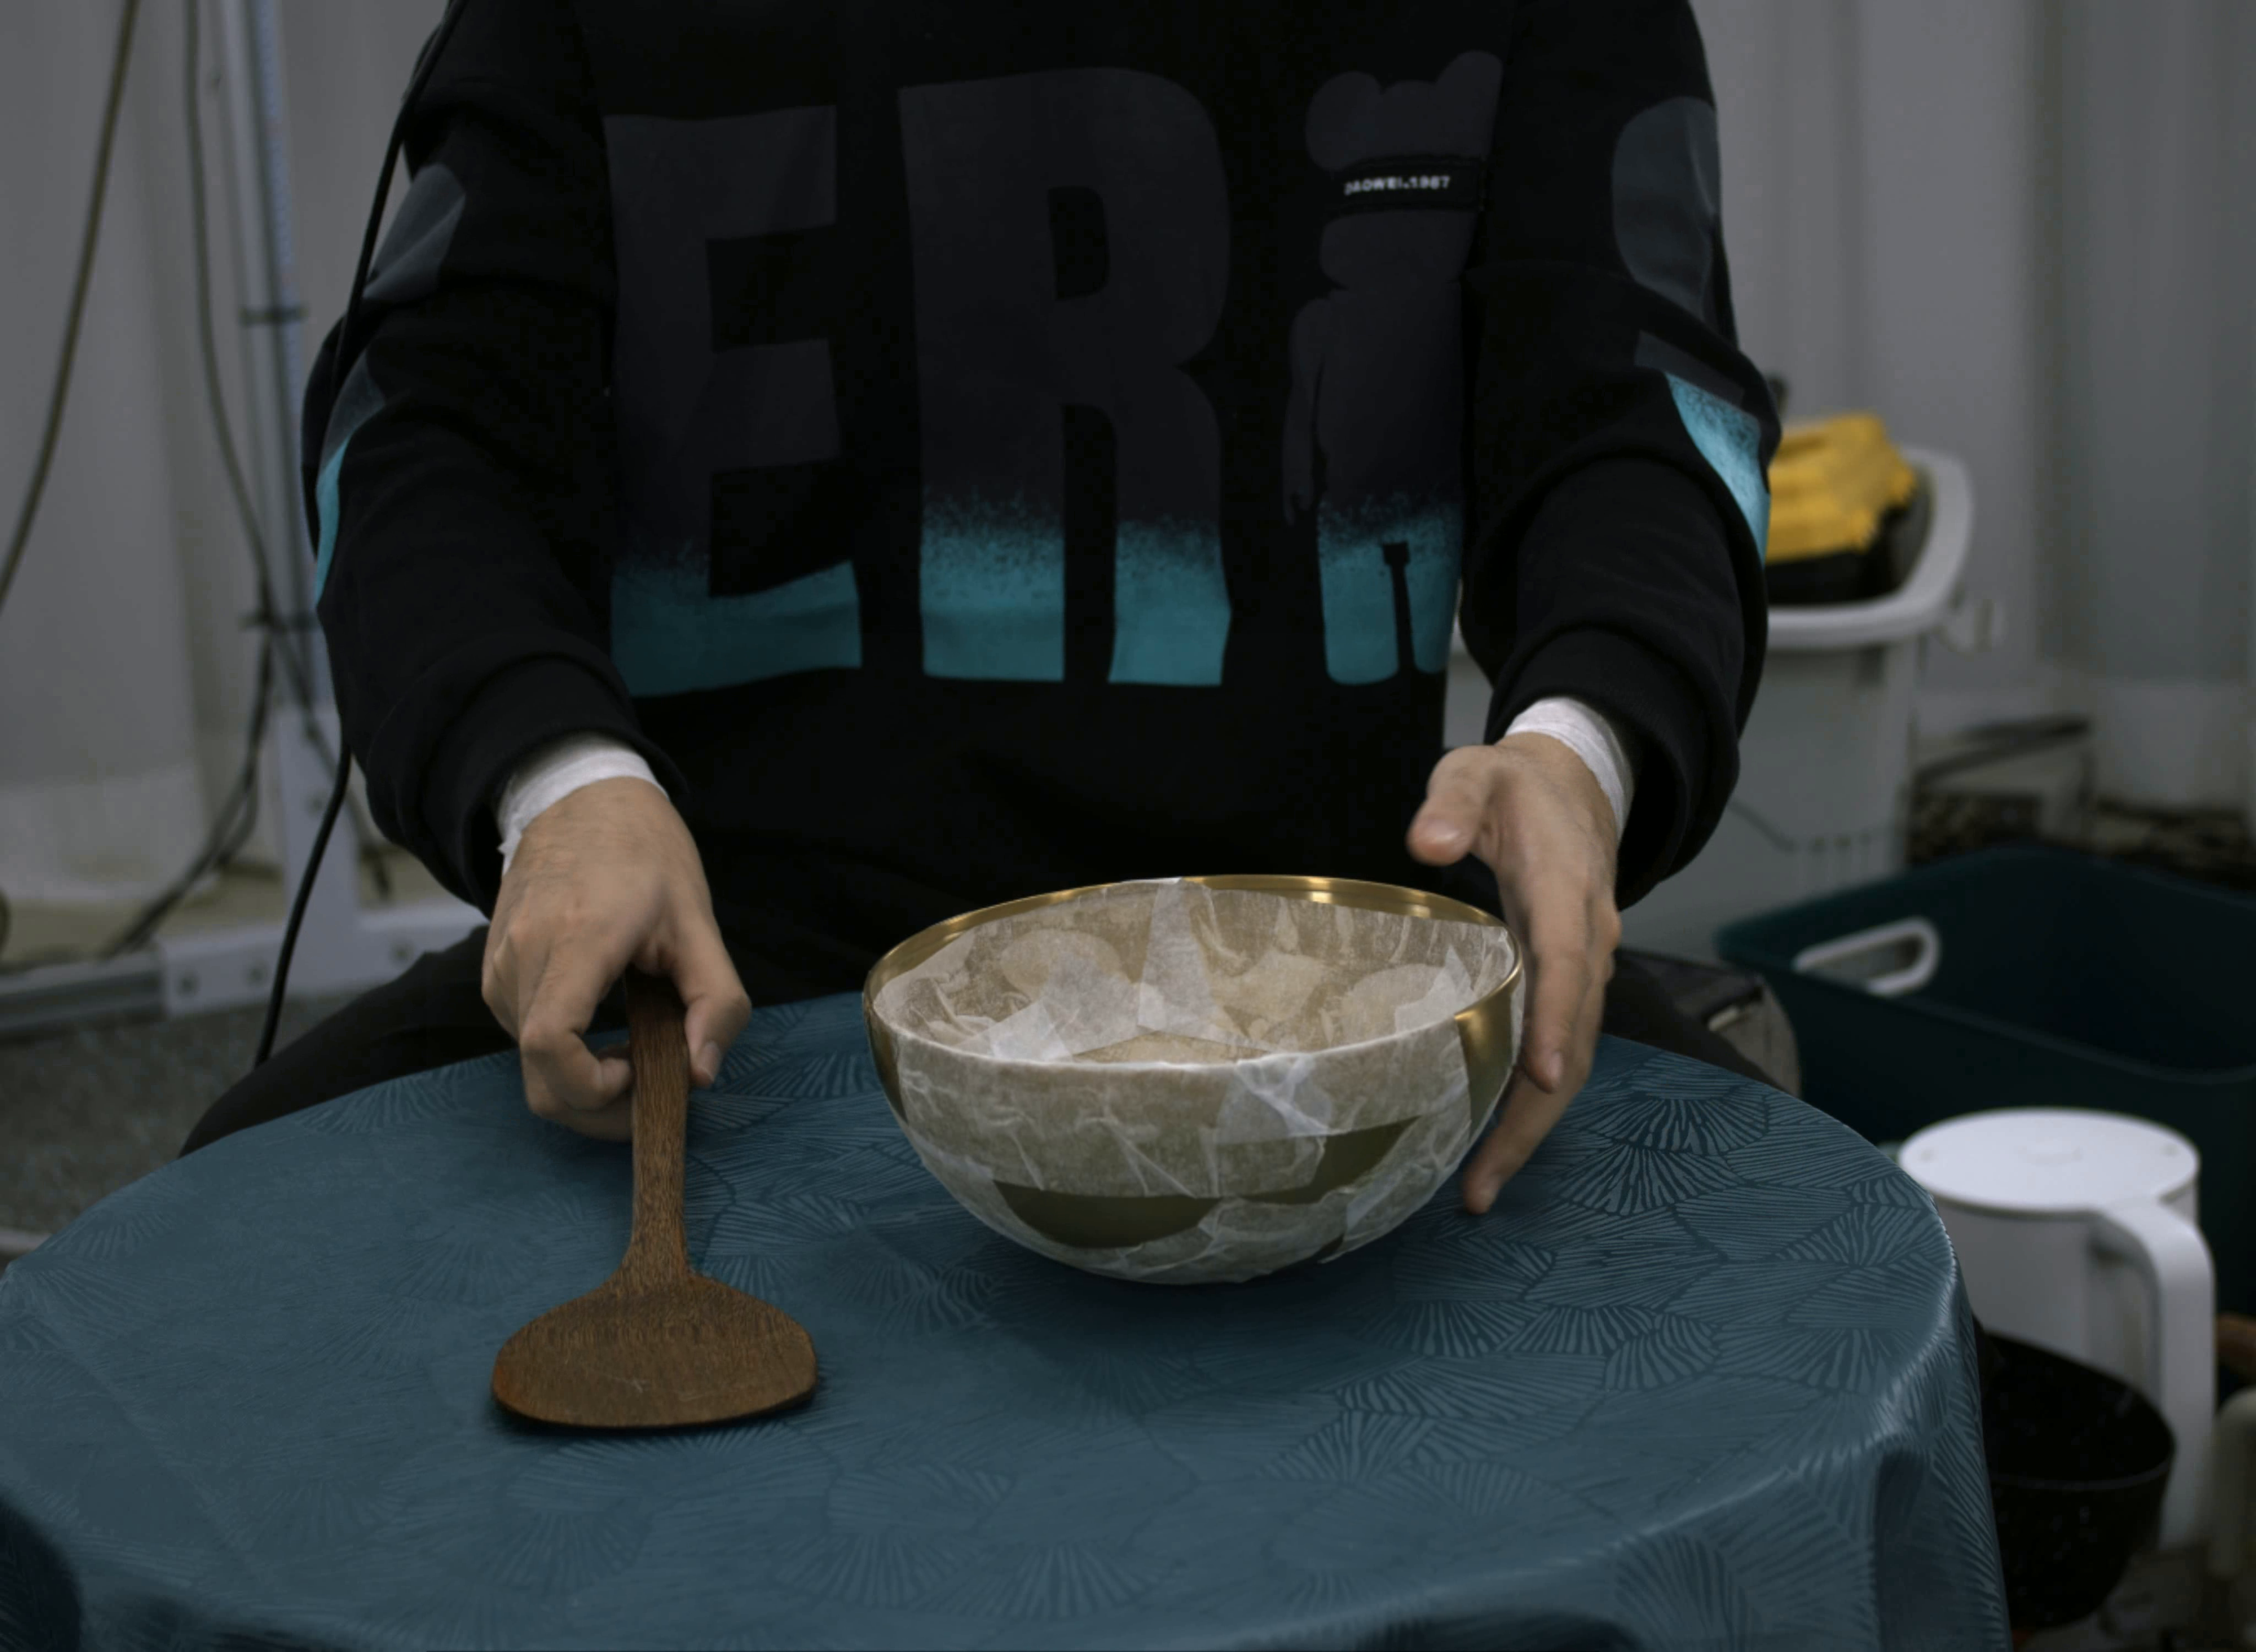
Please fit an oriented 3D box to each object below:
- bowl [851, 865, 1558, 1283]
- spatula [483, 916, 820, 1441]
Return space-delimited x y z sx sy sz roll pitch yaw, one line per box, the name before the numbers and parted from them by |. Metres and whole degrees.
bowl | 0.025 0.083 1.649 0.214 0.094 0.216 -4 14 1
spatula | -0.147 0.101 1.707 0.096 0.015 0.390 -3 22 -3
